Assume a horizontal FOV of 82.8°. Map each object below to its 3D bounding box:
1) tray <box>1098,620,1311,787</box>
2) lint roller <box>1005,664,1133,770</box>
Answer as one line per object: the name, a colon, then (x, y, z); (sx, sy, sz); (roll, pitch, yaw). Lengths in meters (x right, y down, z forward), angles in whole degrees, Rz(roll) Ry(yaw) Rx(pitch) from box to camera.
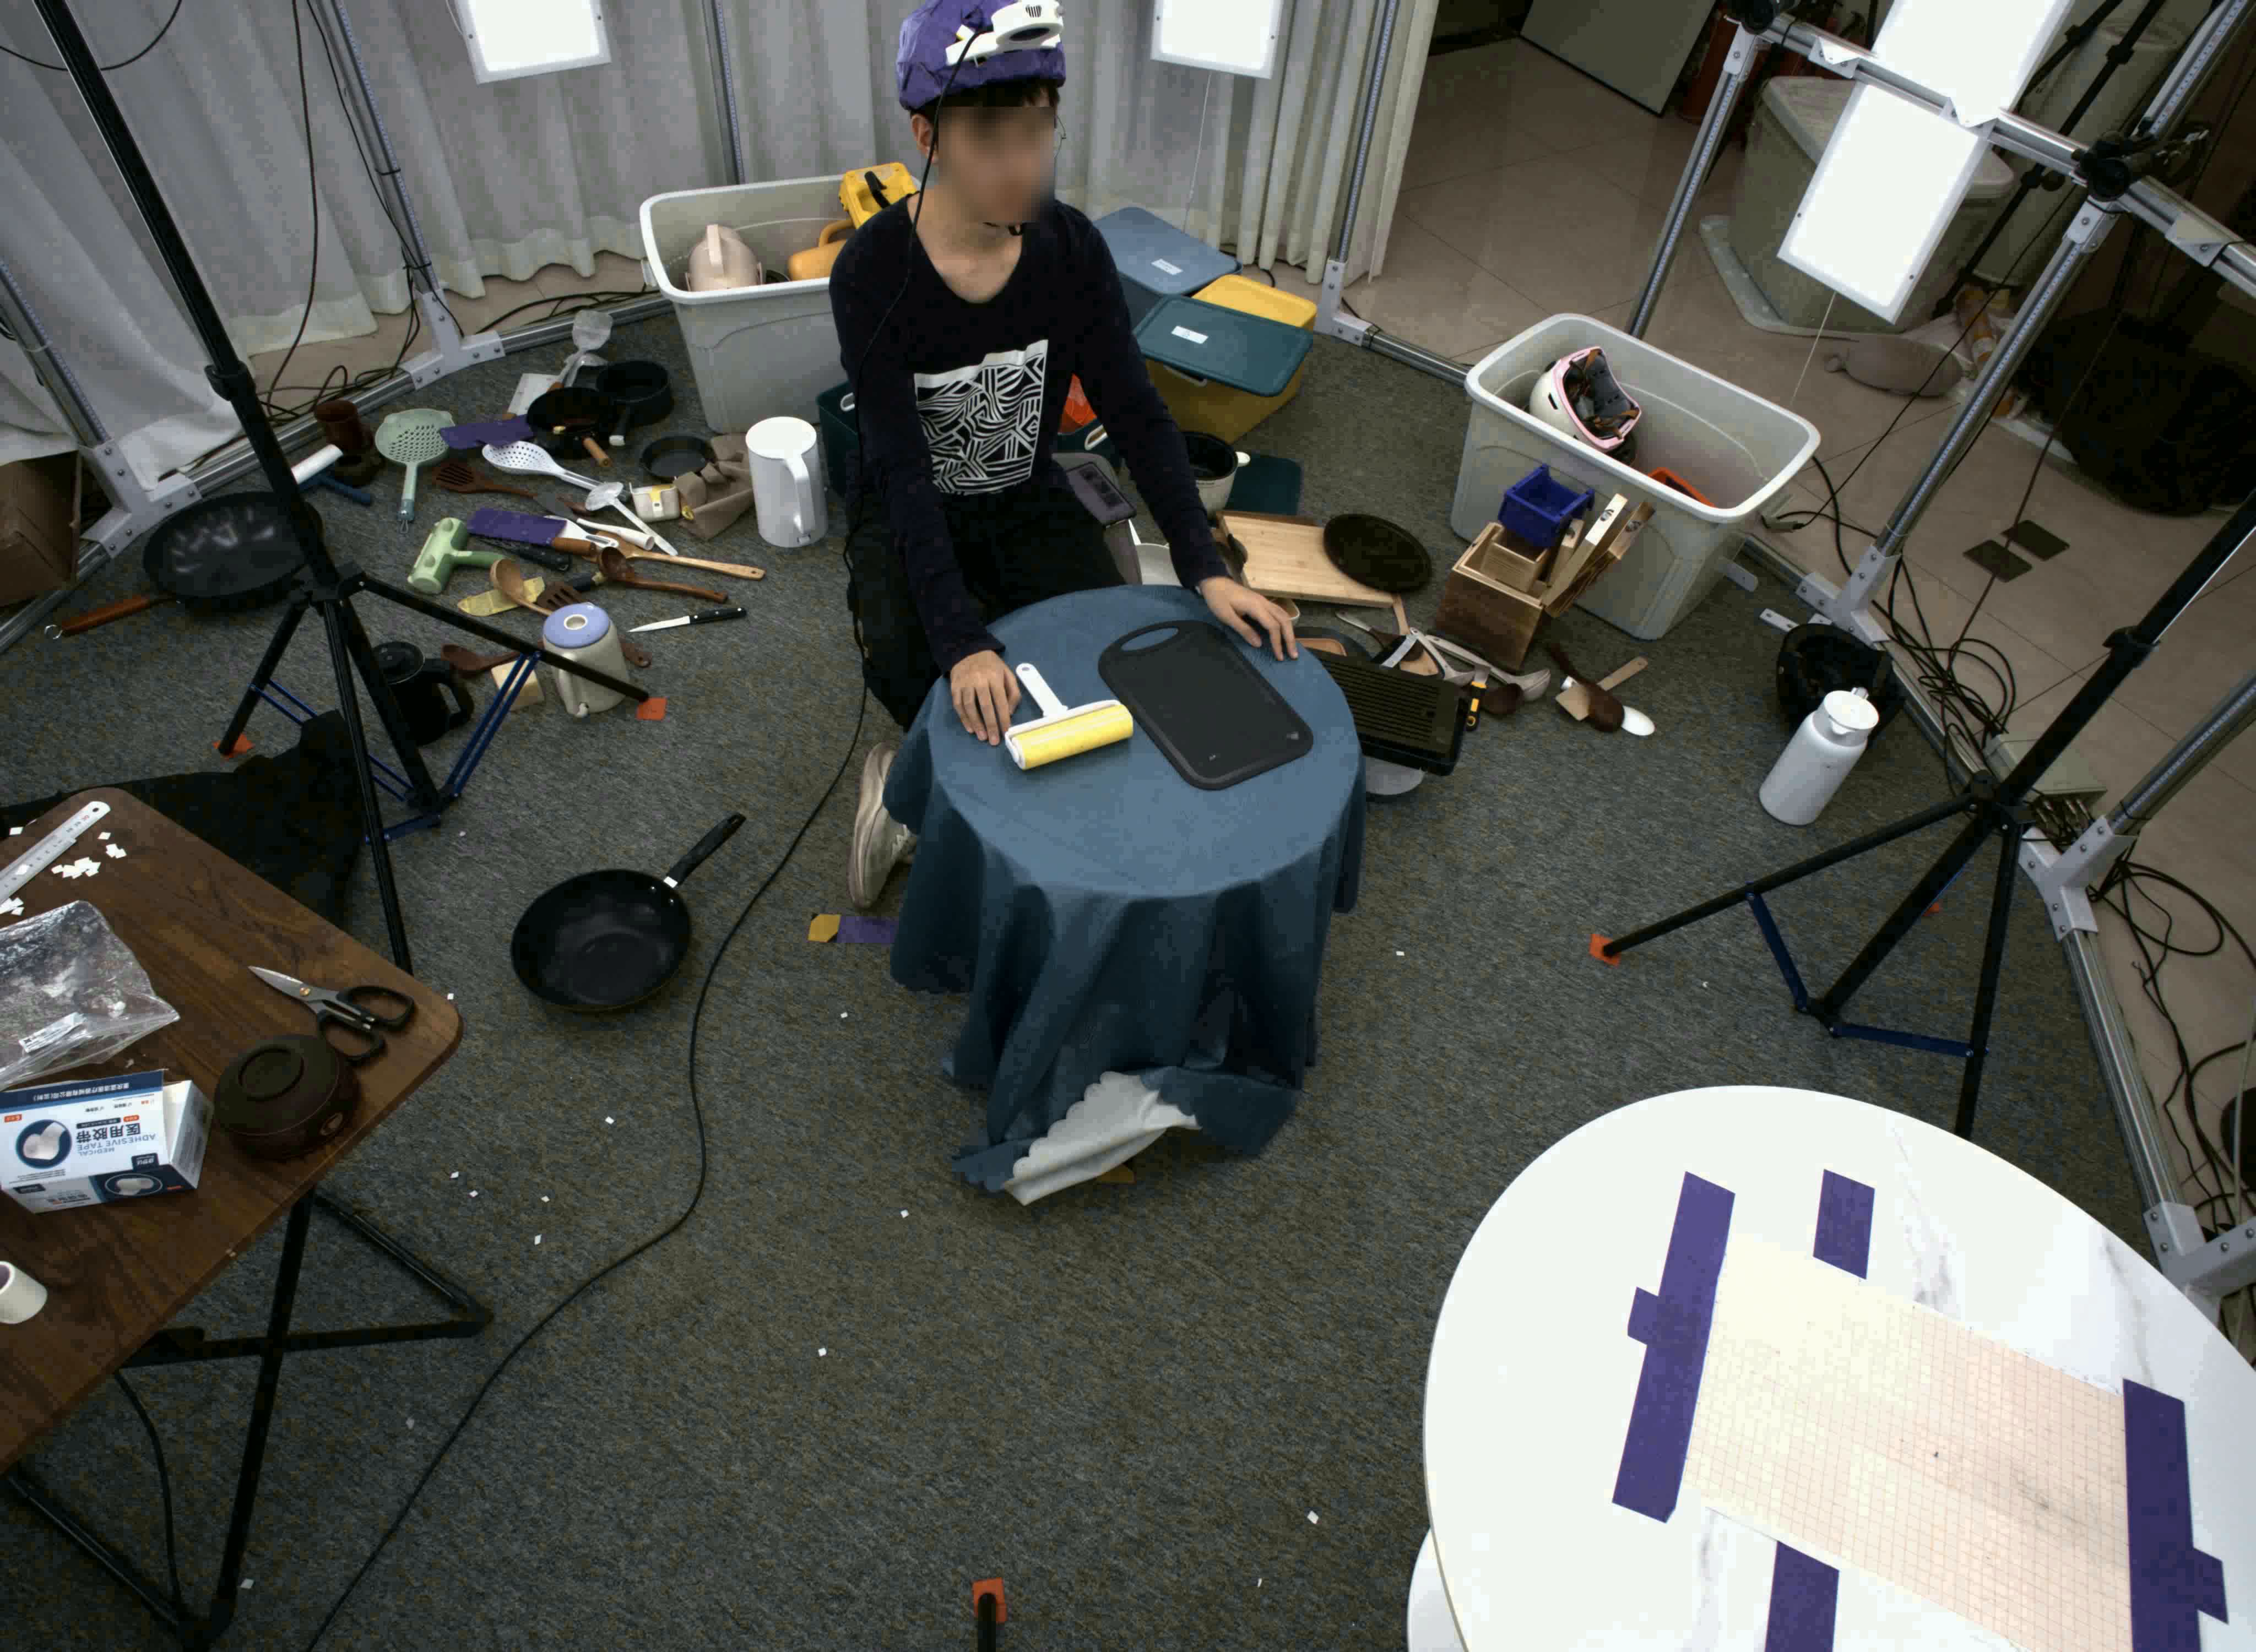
tray: (0.101, -0.187, 1.832); (0.212, 0.009, 0.332); (-22, 54, -21)
lint roller: (-0.109, -0.172, 1.776); (0.174, 0.050, 0.196); (-19, 56, -21)
